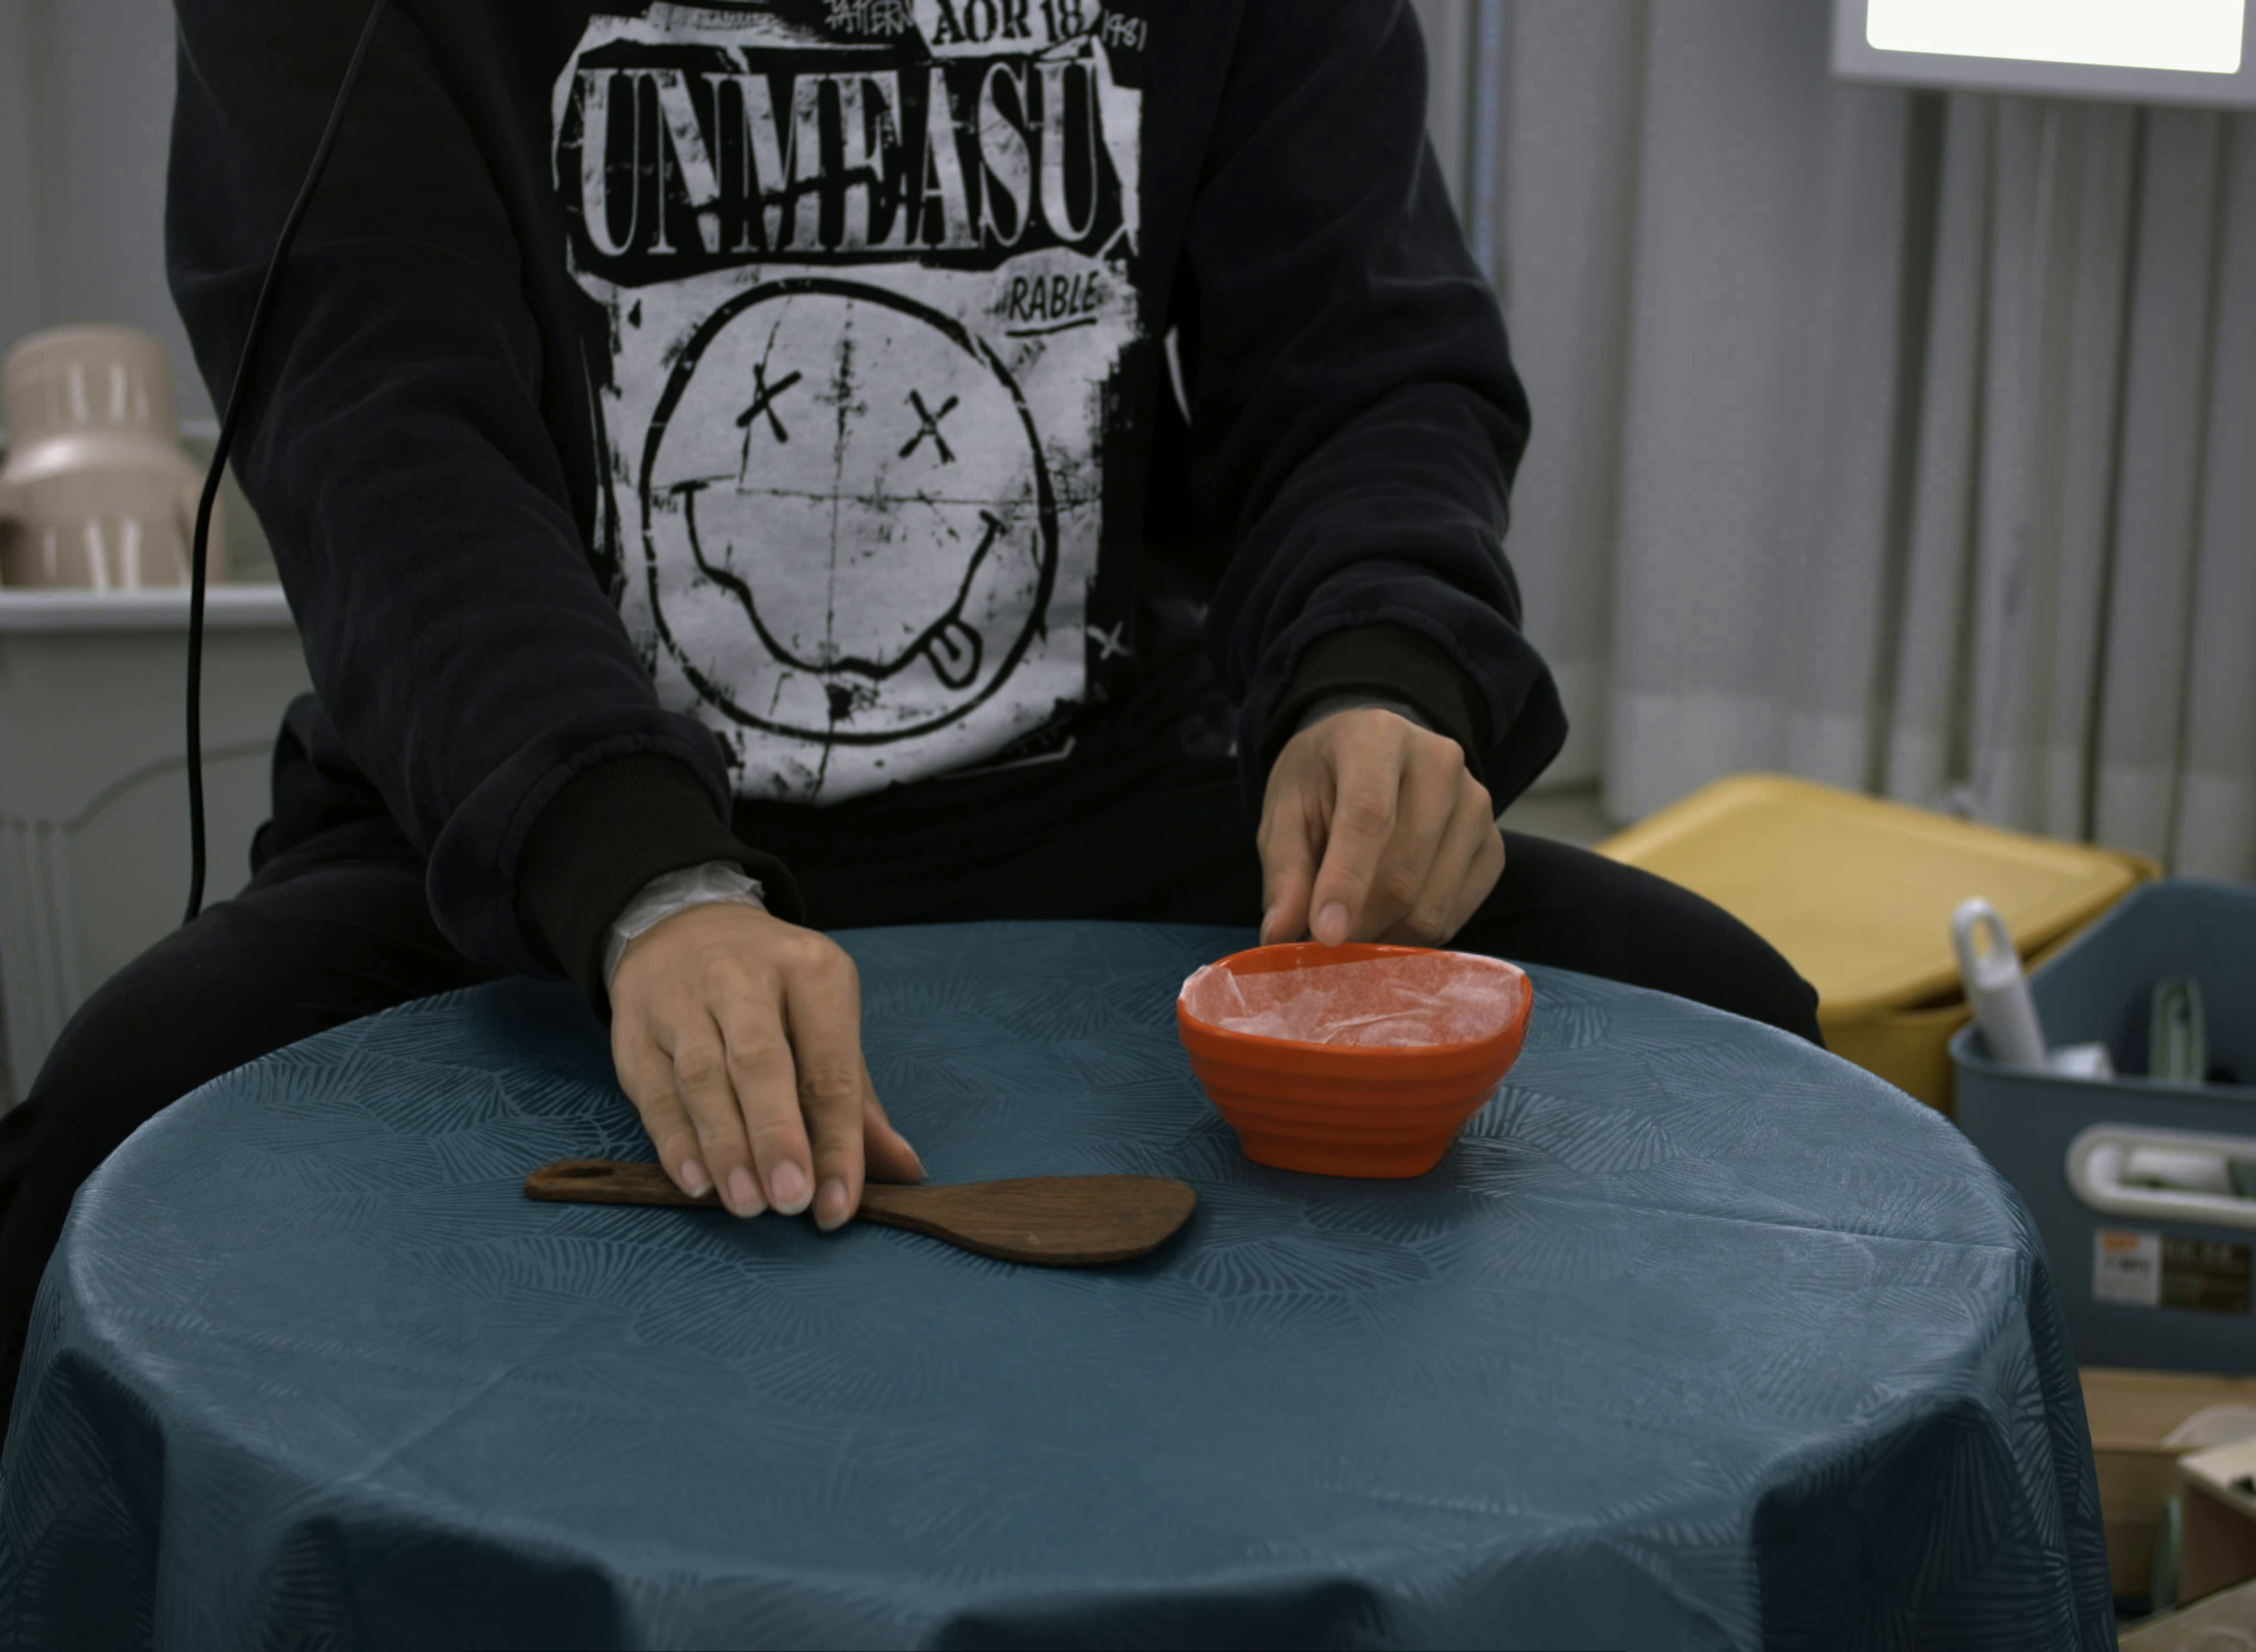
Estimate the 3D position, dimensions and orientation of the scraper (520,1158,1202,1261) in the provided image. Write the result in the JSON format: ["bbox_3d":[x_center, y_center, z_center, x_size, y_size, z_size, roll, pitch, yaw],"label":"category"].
[{"bbox_3d":[-0.083,0.114,1.604,0.210,0.011,0.076,3,15,12],"label":"scraper"}]

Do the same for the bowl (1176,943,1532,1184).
[{"bbox_3d":[0.071,0.077,1.665,0.118,0.052,0.118,0,17,0],"label":"bowl"}]
